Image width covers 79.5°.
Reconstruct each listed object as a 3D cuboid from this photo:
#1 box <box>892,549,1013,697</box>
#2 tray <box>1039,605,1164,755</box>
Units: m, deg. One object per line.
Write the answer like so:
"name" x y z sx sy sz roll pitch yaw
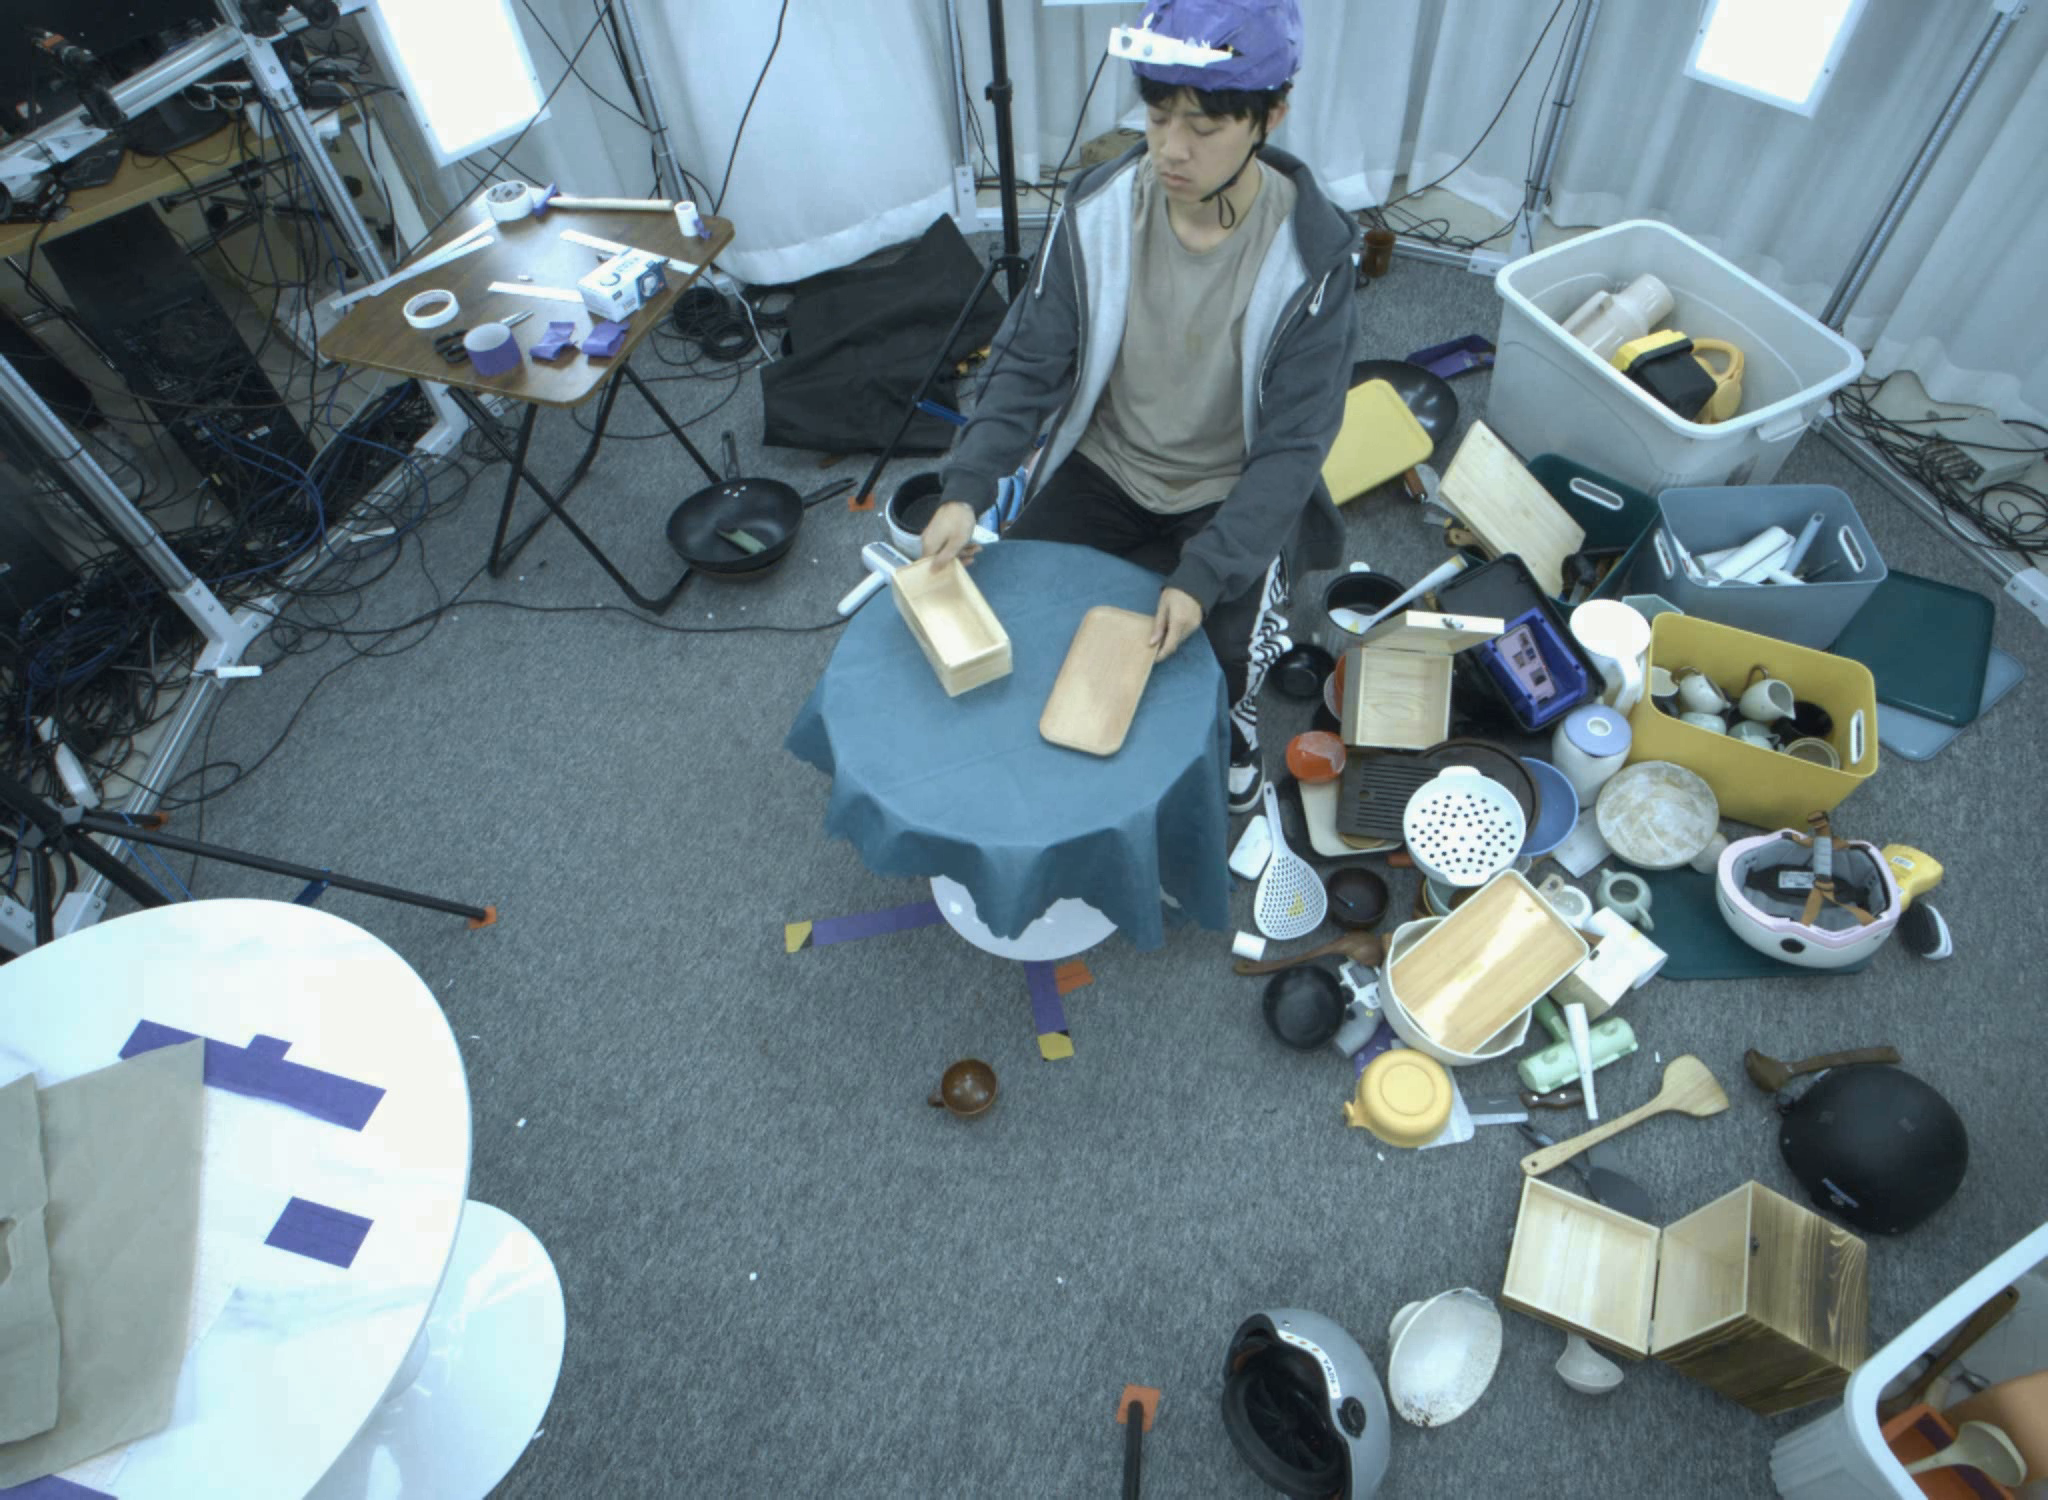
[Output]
"box" -0.111 -0.197 1.879 0.108 0.081 0.207 -23 59 -14
"tray" 0.117 -0.106 1.834 0.129 0.023 0.250 18 64 11
